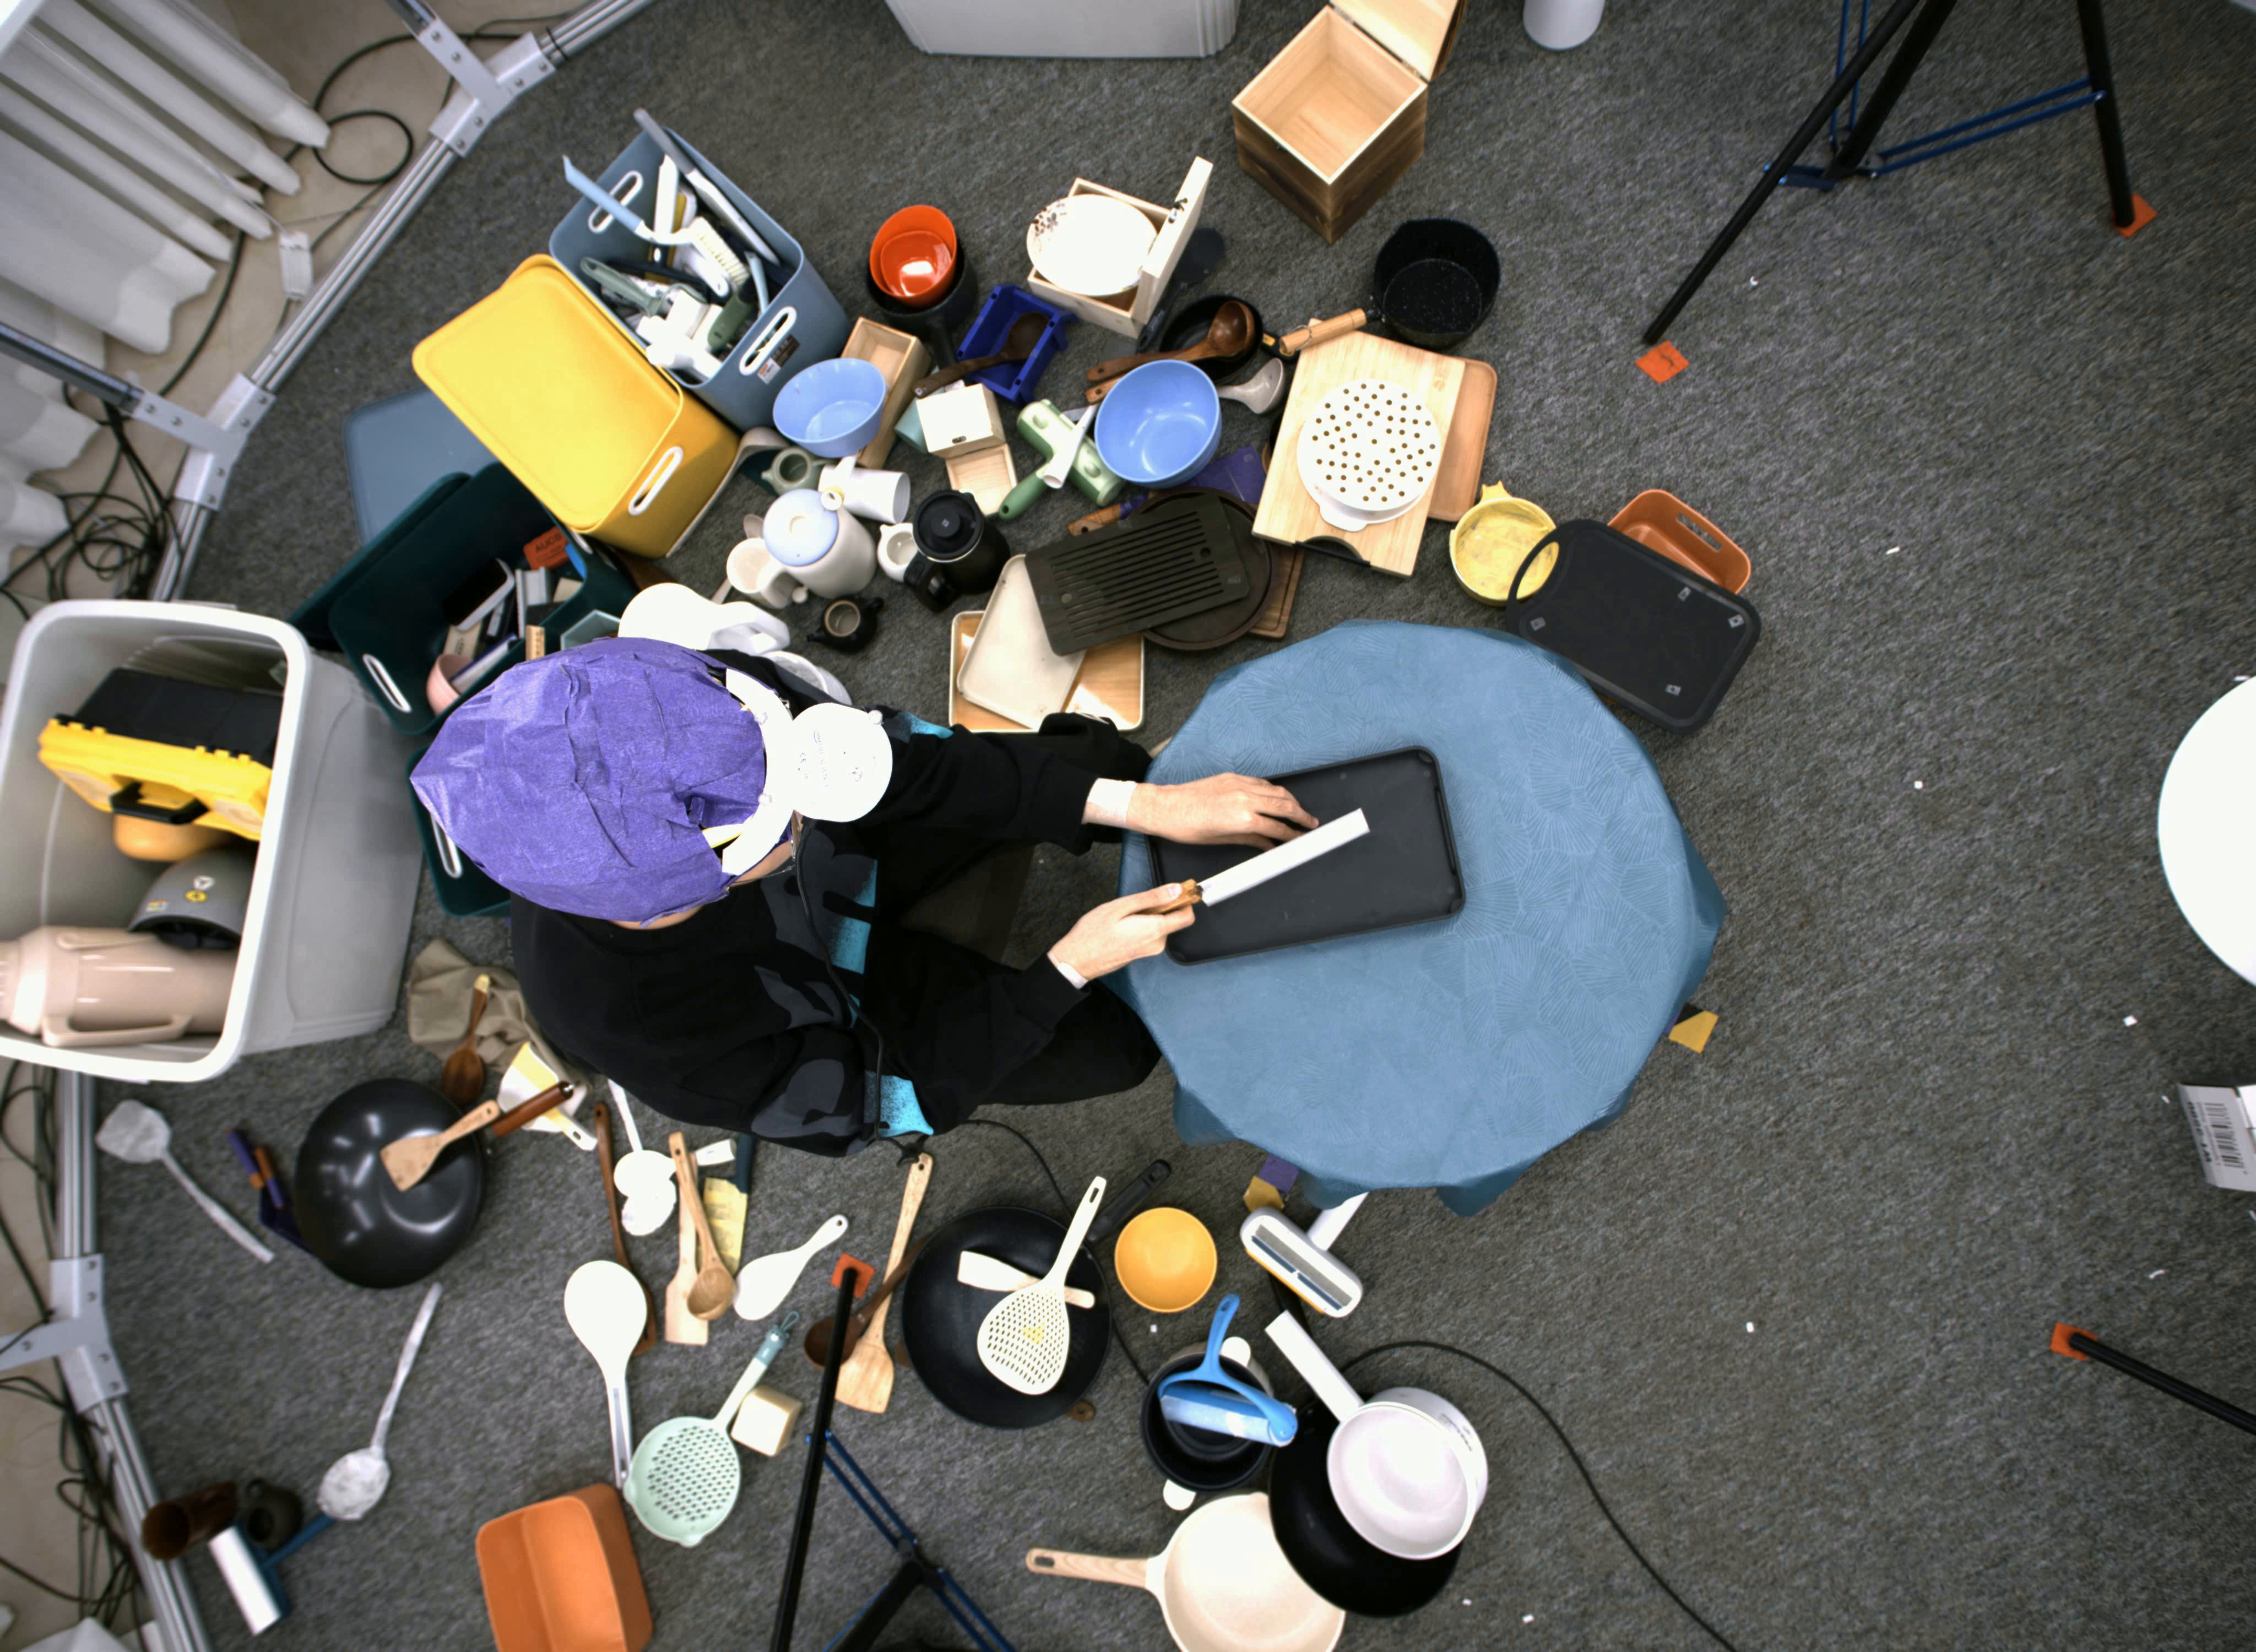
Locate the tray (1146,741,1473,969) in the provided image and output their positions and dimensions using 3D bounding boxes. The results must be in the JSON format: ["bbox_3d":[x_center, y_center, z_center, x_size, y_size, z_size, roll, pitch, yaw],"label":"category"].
[{"bbox_3d":[0.189,0.031,1.459,0.320,0.037,0.183,-13,85,10],"label":"tray"}]

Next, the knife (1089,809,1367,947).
[{"bbox_3d":[0.107,0.057,1.437,0.308,0.093,0.021,-26,70,9],"label":"knife"}]
